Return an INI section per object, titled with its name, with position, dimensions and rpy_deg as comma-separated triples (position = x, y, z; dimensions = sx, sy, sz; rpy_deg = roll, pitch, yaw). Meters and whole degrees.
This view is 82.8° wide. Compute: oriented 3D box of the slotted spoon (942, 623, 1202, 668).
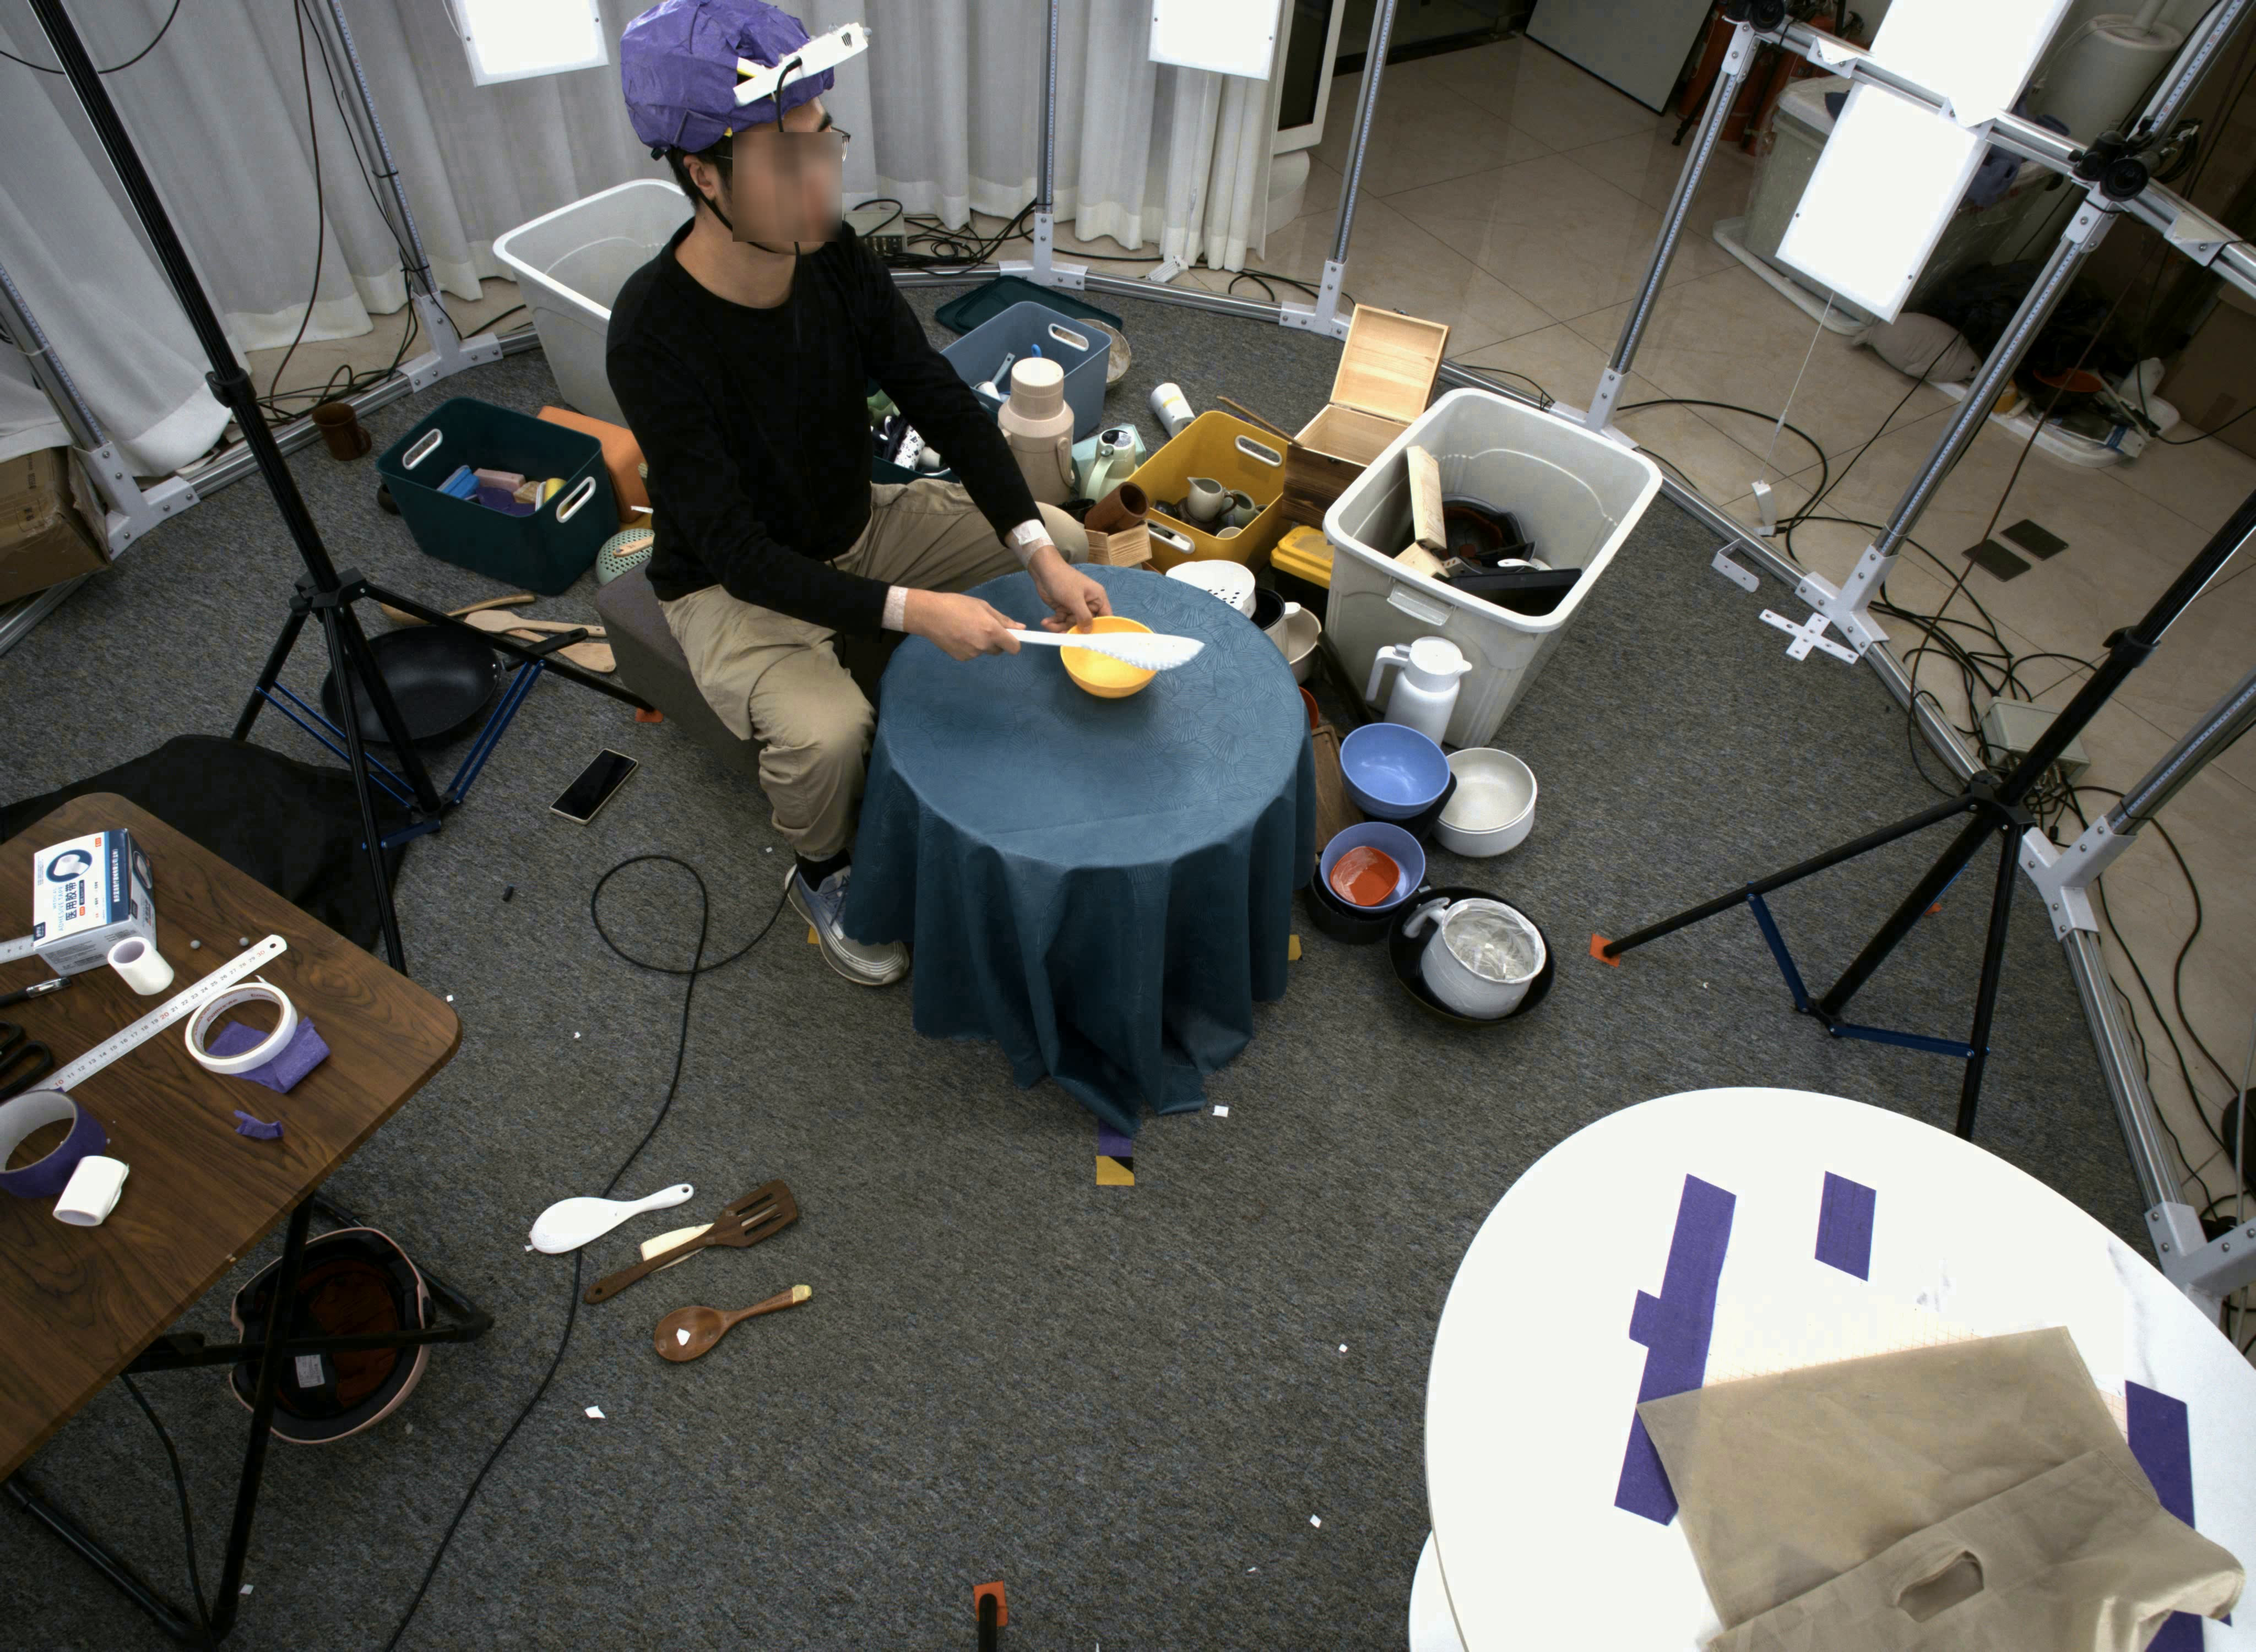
[slotted spoon]
position = -0.076, -0.253, 1.725
dimensions = 0.350, 0.136, 0.046
rpy_deg = 9, 92, 6

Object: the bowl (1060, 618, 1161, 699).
[bowl]
position = -0.026, -0.227, 1.829
dimensions = 0.145, 0.058, 0.149
rpy_deg = 3, 49, -4
